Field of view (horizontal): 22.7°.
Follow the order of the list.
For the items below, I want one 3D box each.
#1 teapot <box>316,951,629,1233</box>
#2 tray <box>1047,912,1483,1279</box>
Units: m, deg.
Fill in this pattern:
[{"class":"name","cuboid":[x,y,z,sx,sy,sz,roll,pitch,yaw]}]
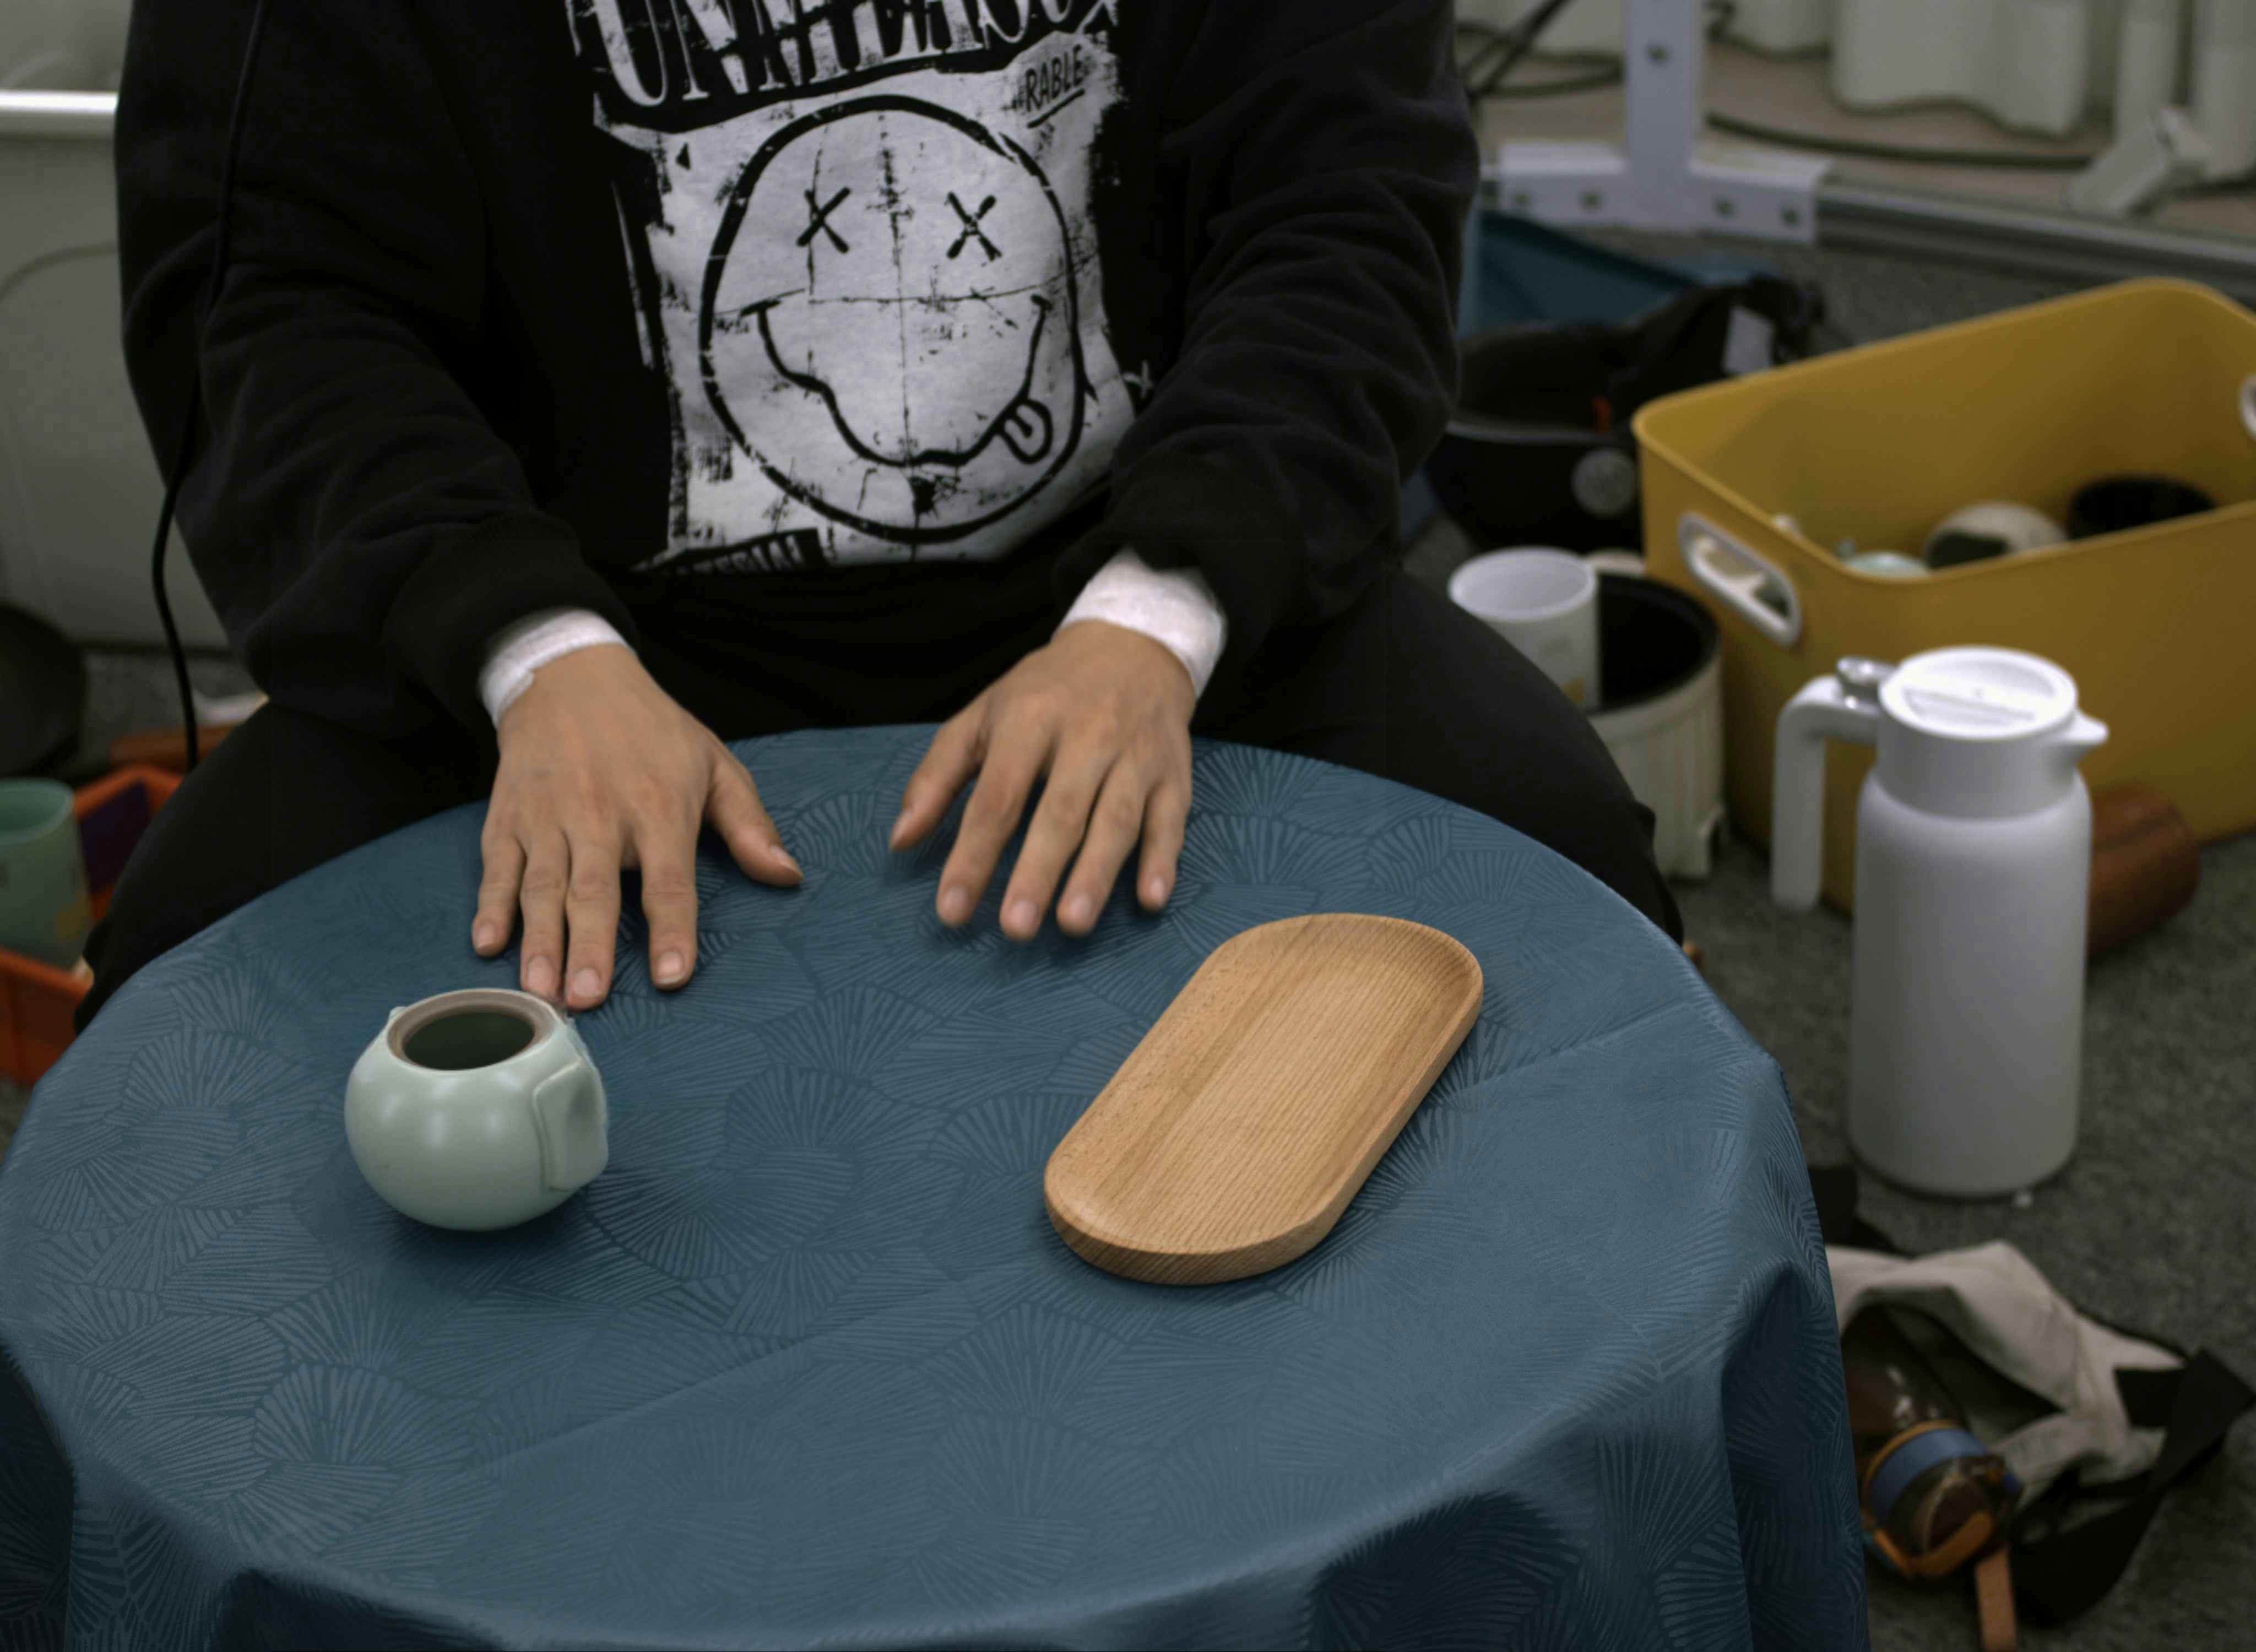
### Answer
[{"class":"teapot","cuboid":[-0.215,0.093,1.857,0.143,0.074,0.089,22,35,37]},{"class":"tray","cuboid":[0.048,0.089,1.900,0.101,0.020,0.235,9,28,20]}]
